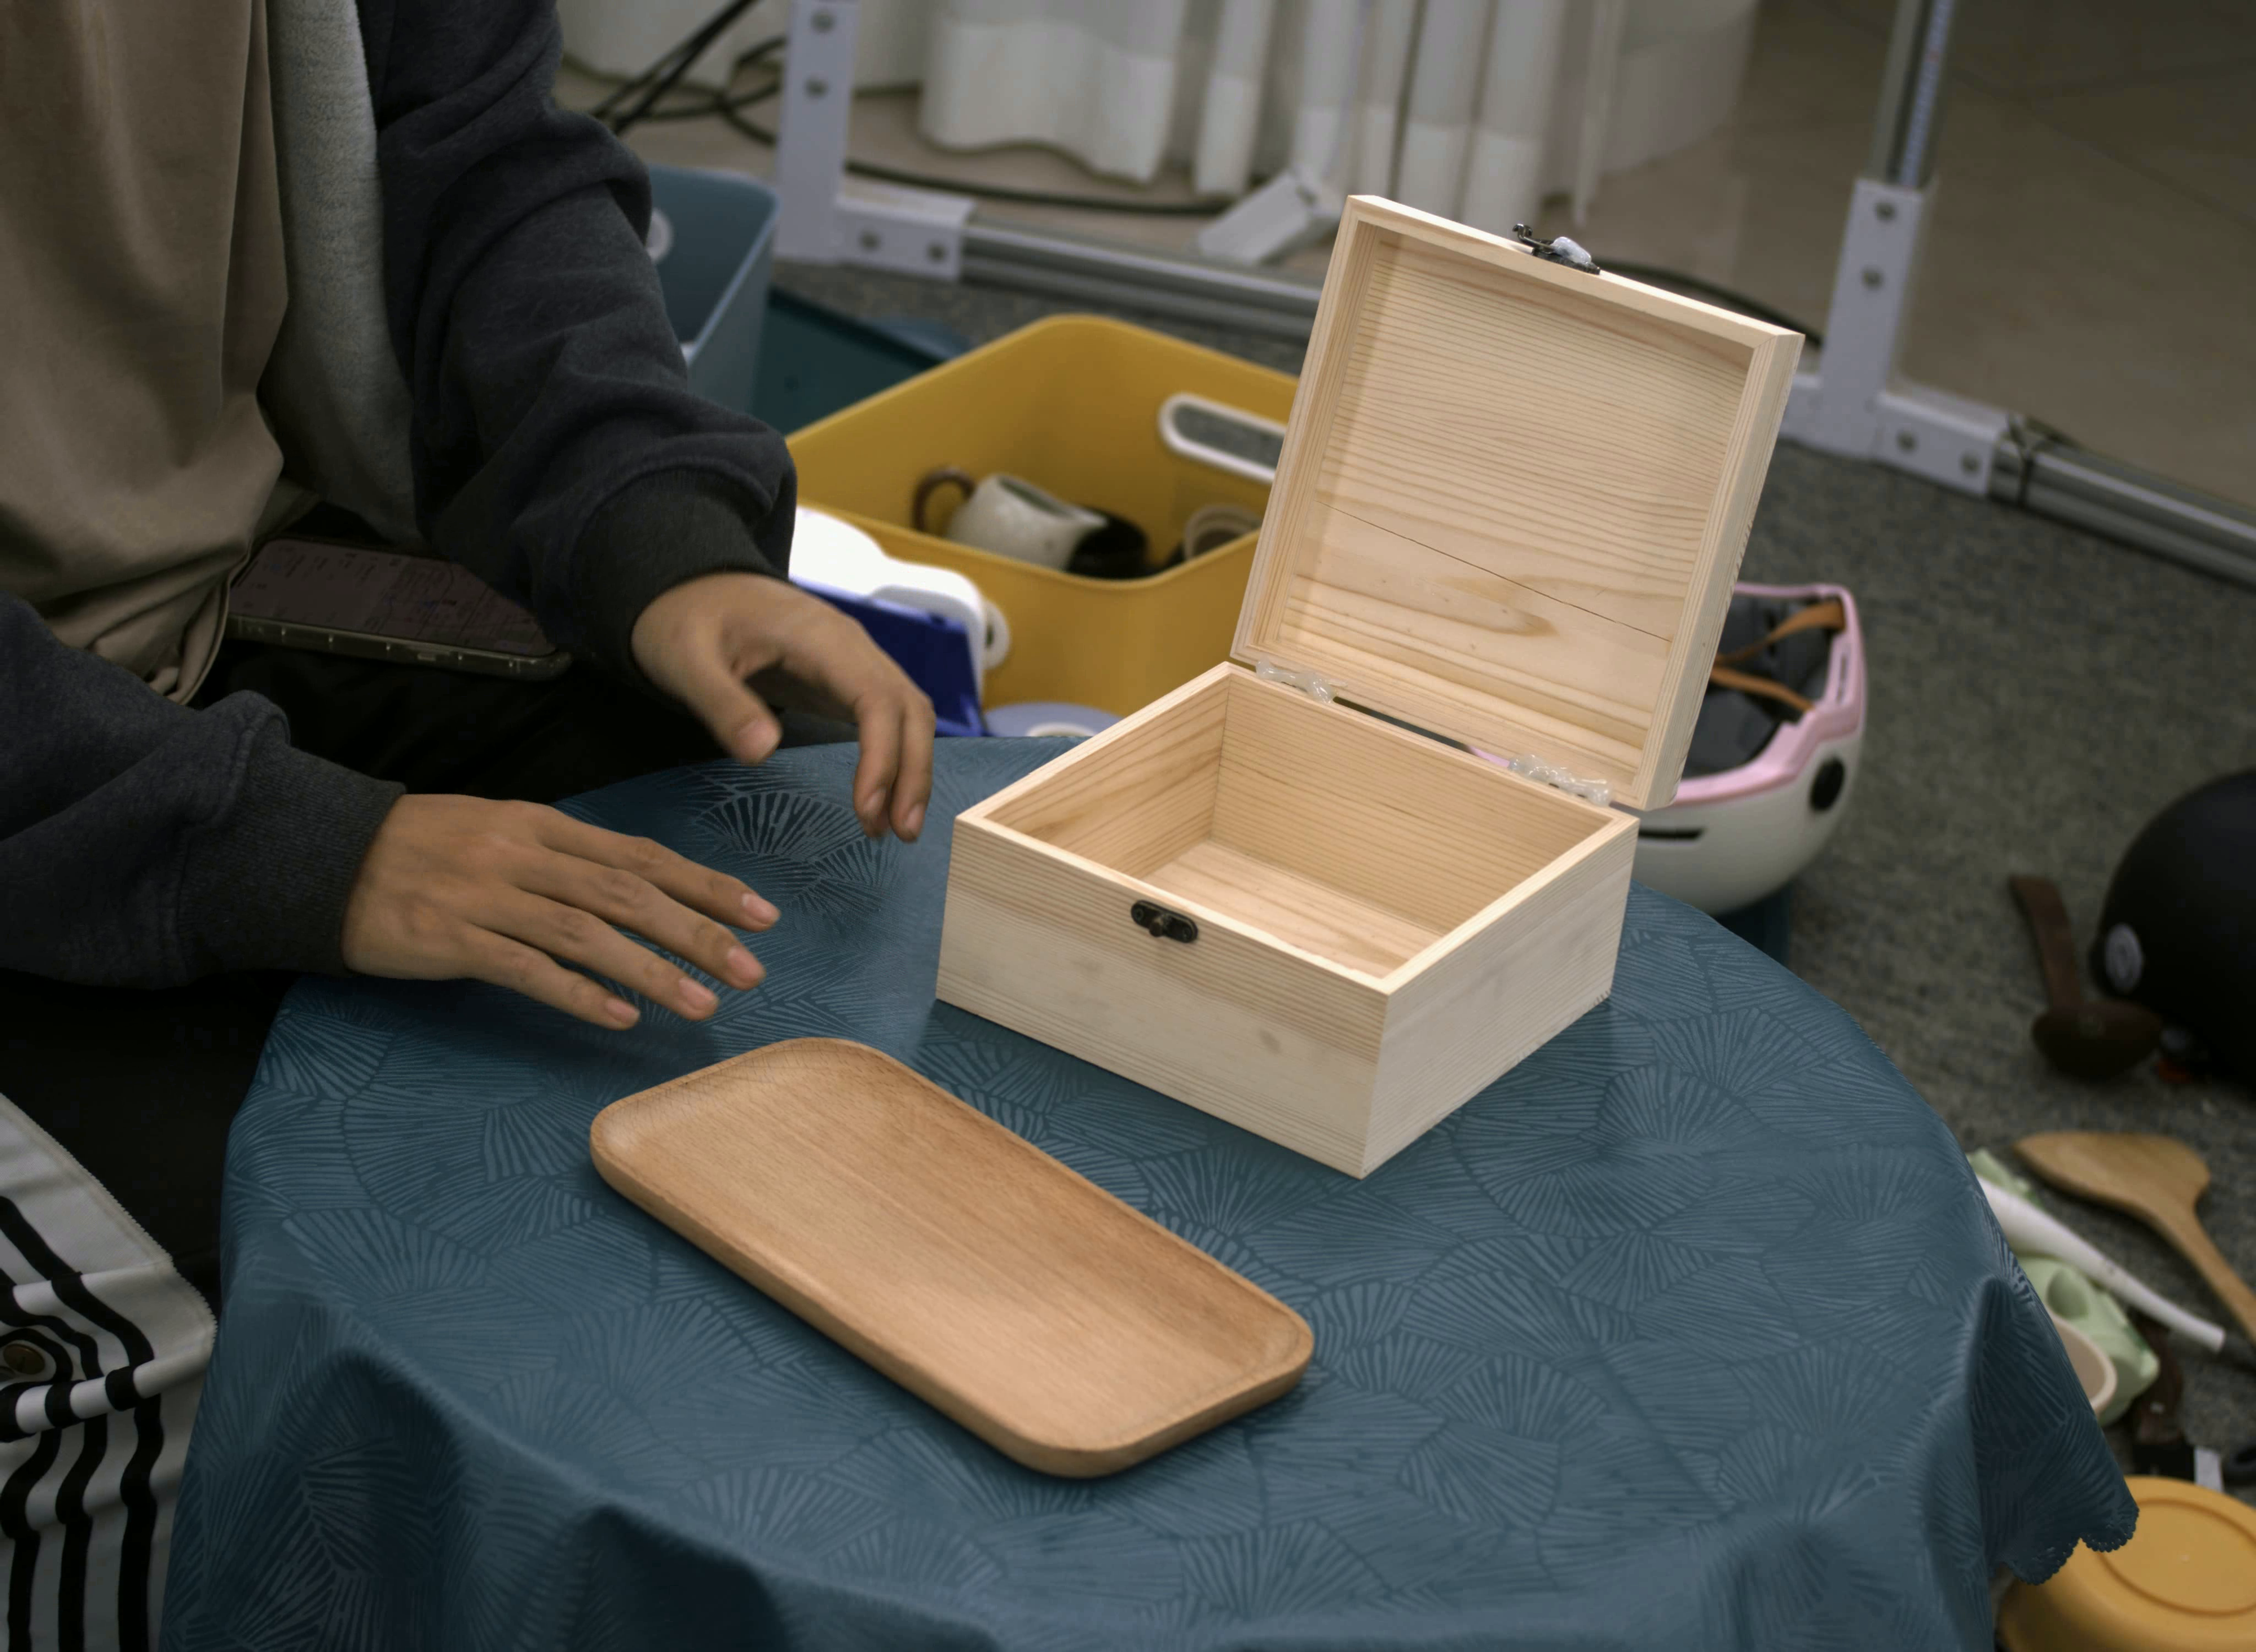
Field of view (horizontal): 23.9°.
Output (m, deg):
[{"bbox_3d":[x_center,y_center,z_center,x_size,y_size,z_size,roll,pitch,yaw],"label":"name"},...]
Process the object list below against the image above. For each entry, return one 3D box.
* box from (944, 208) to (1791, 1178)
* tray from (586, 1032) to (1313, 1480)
[{"bbox_3d":[0.085,-0.057,1.908,0.182,0.252,0.264,19,28,28],"label":"box"},{"bbox_3d":[-0.061,0.138,1.740,0.130,0.023,0.252,-16,34,-42],"label":"tray"}]
